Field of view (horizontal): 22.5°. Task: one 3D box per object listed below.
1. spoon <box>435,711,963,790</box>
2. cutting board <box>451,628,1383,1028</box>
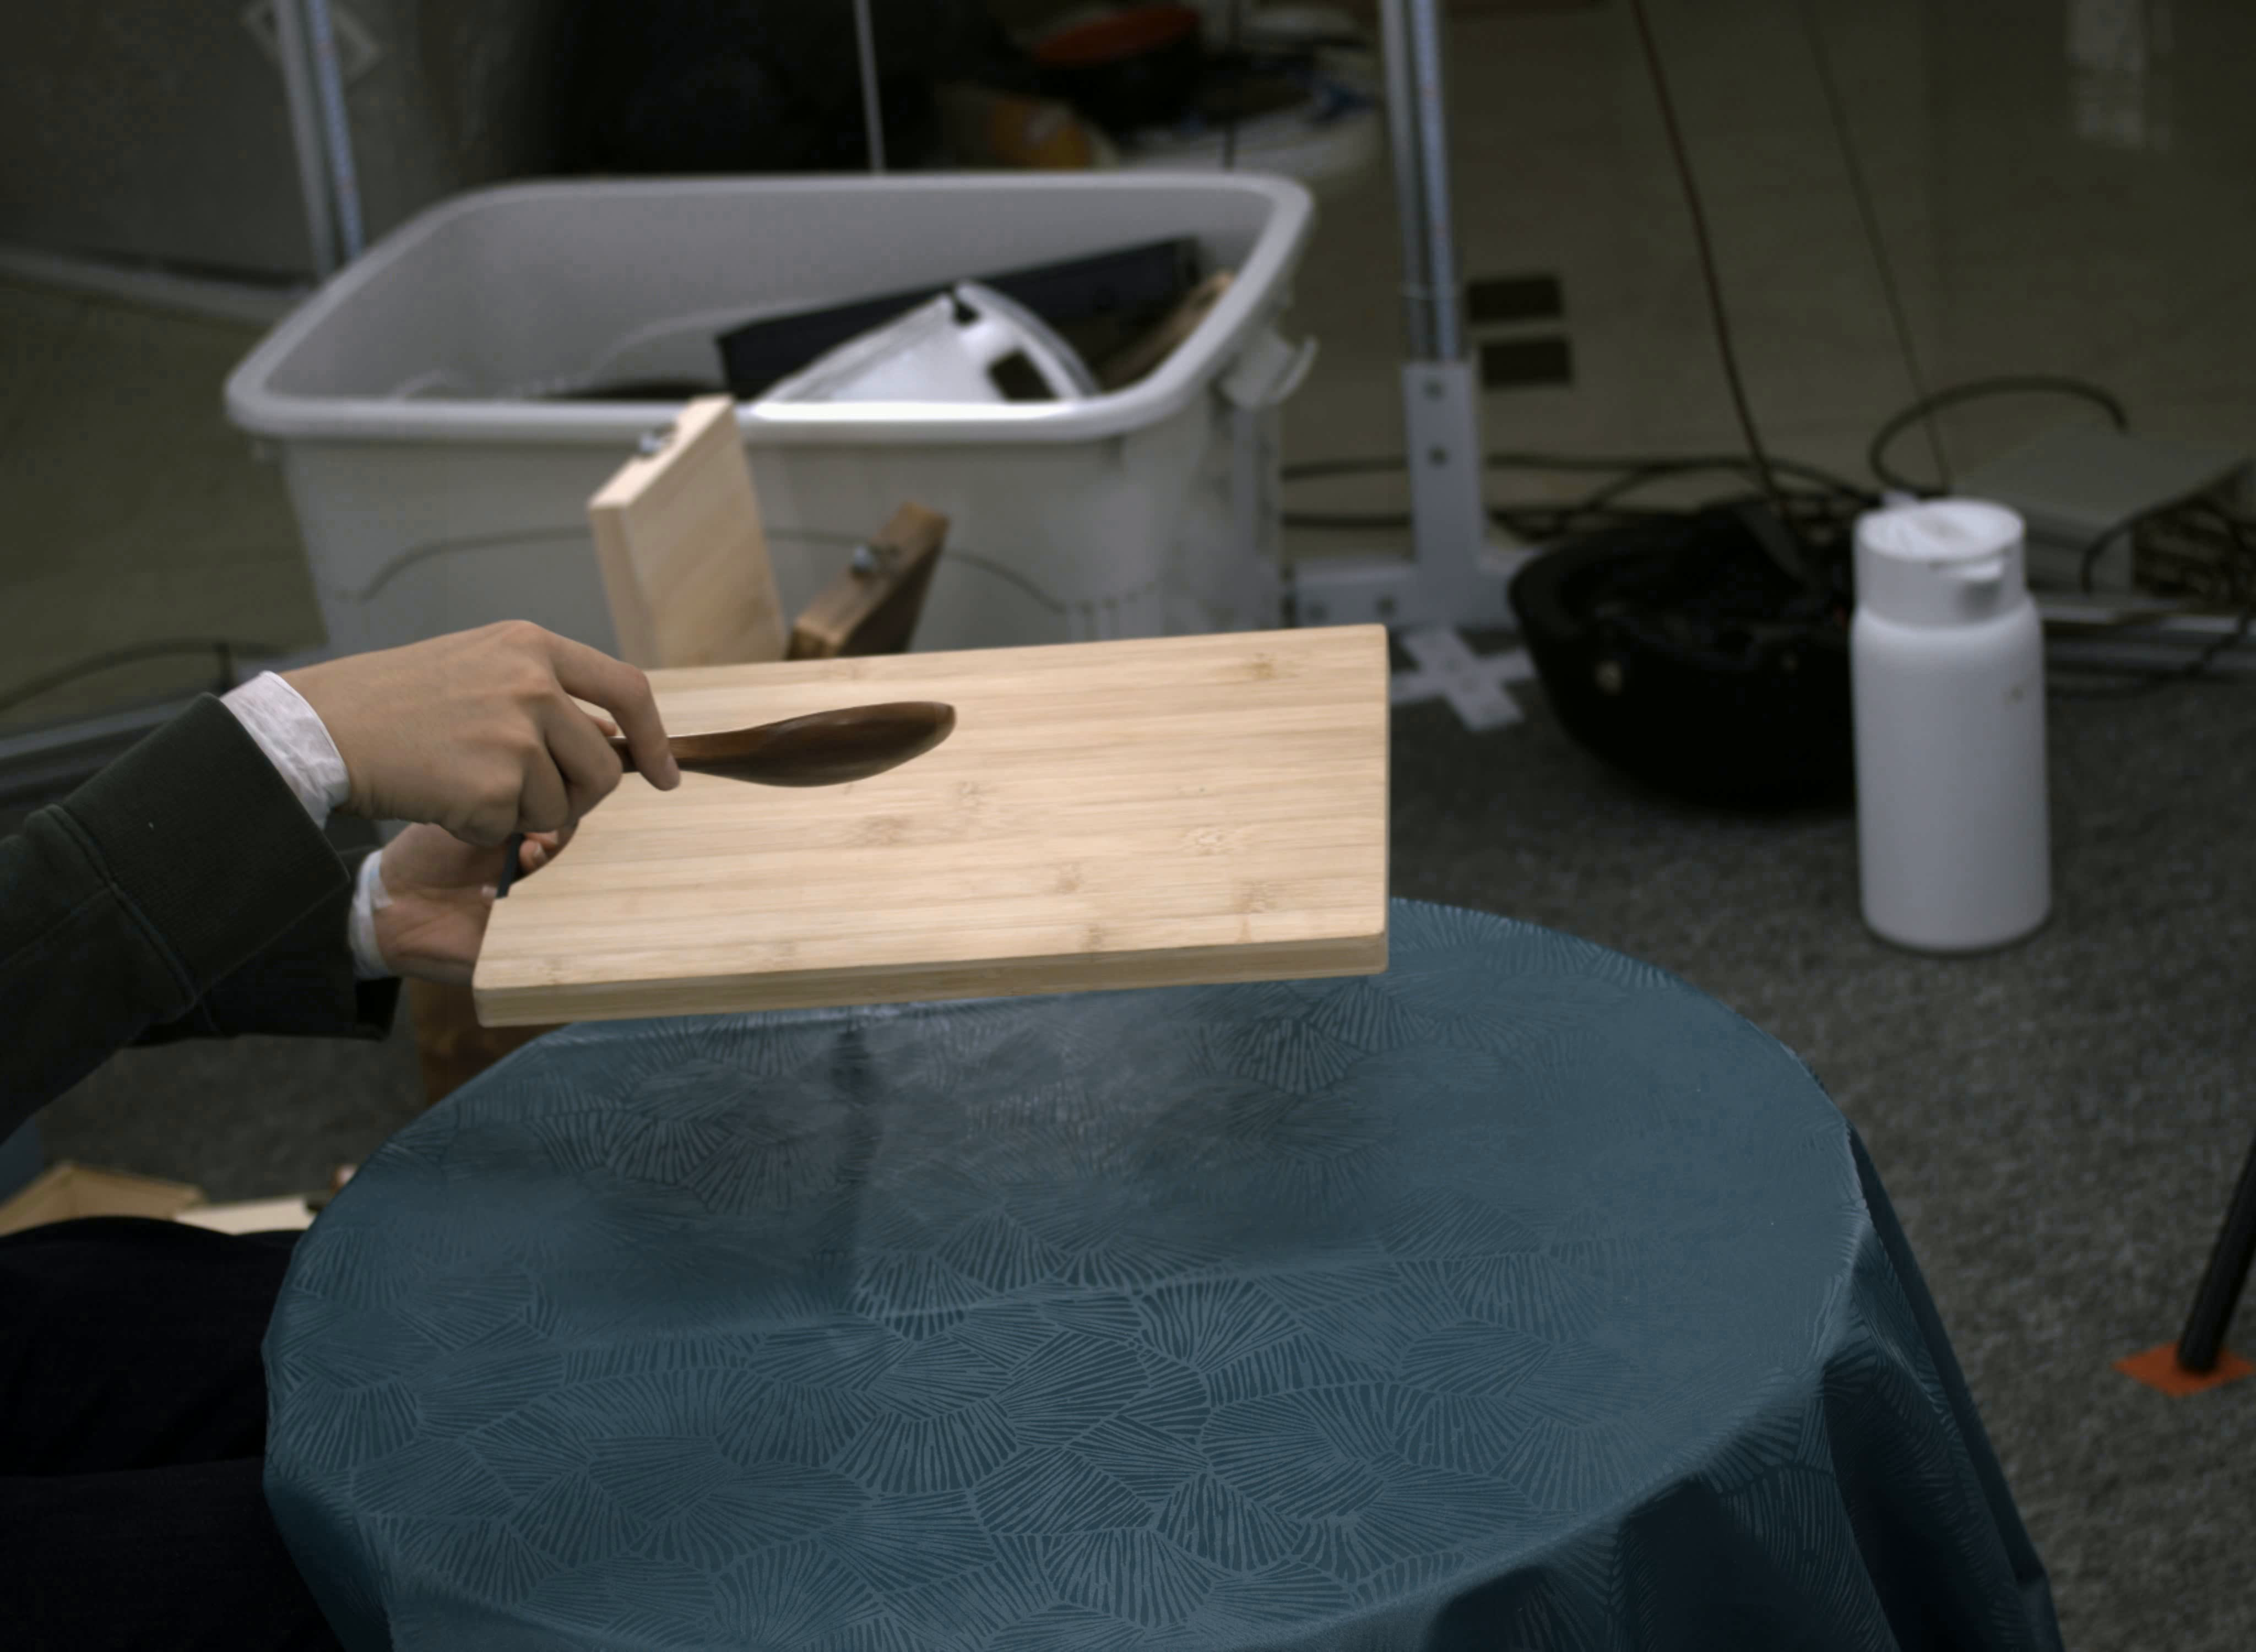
[{"bbox_3d":[-0.145,-0.024,1.929,0.215,0.017,0.076,-2,-10,-42],"label":"spoon"},{"bbox_3d":[-0.074,-0.001,2.188,0.348,0.024,0.246,-4,30,4],"label":"cutting board"}]
